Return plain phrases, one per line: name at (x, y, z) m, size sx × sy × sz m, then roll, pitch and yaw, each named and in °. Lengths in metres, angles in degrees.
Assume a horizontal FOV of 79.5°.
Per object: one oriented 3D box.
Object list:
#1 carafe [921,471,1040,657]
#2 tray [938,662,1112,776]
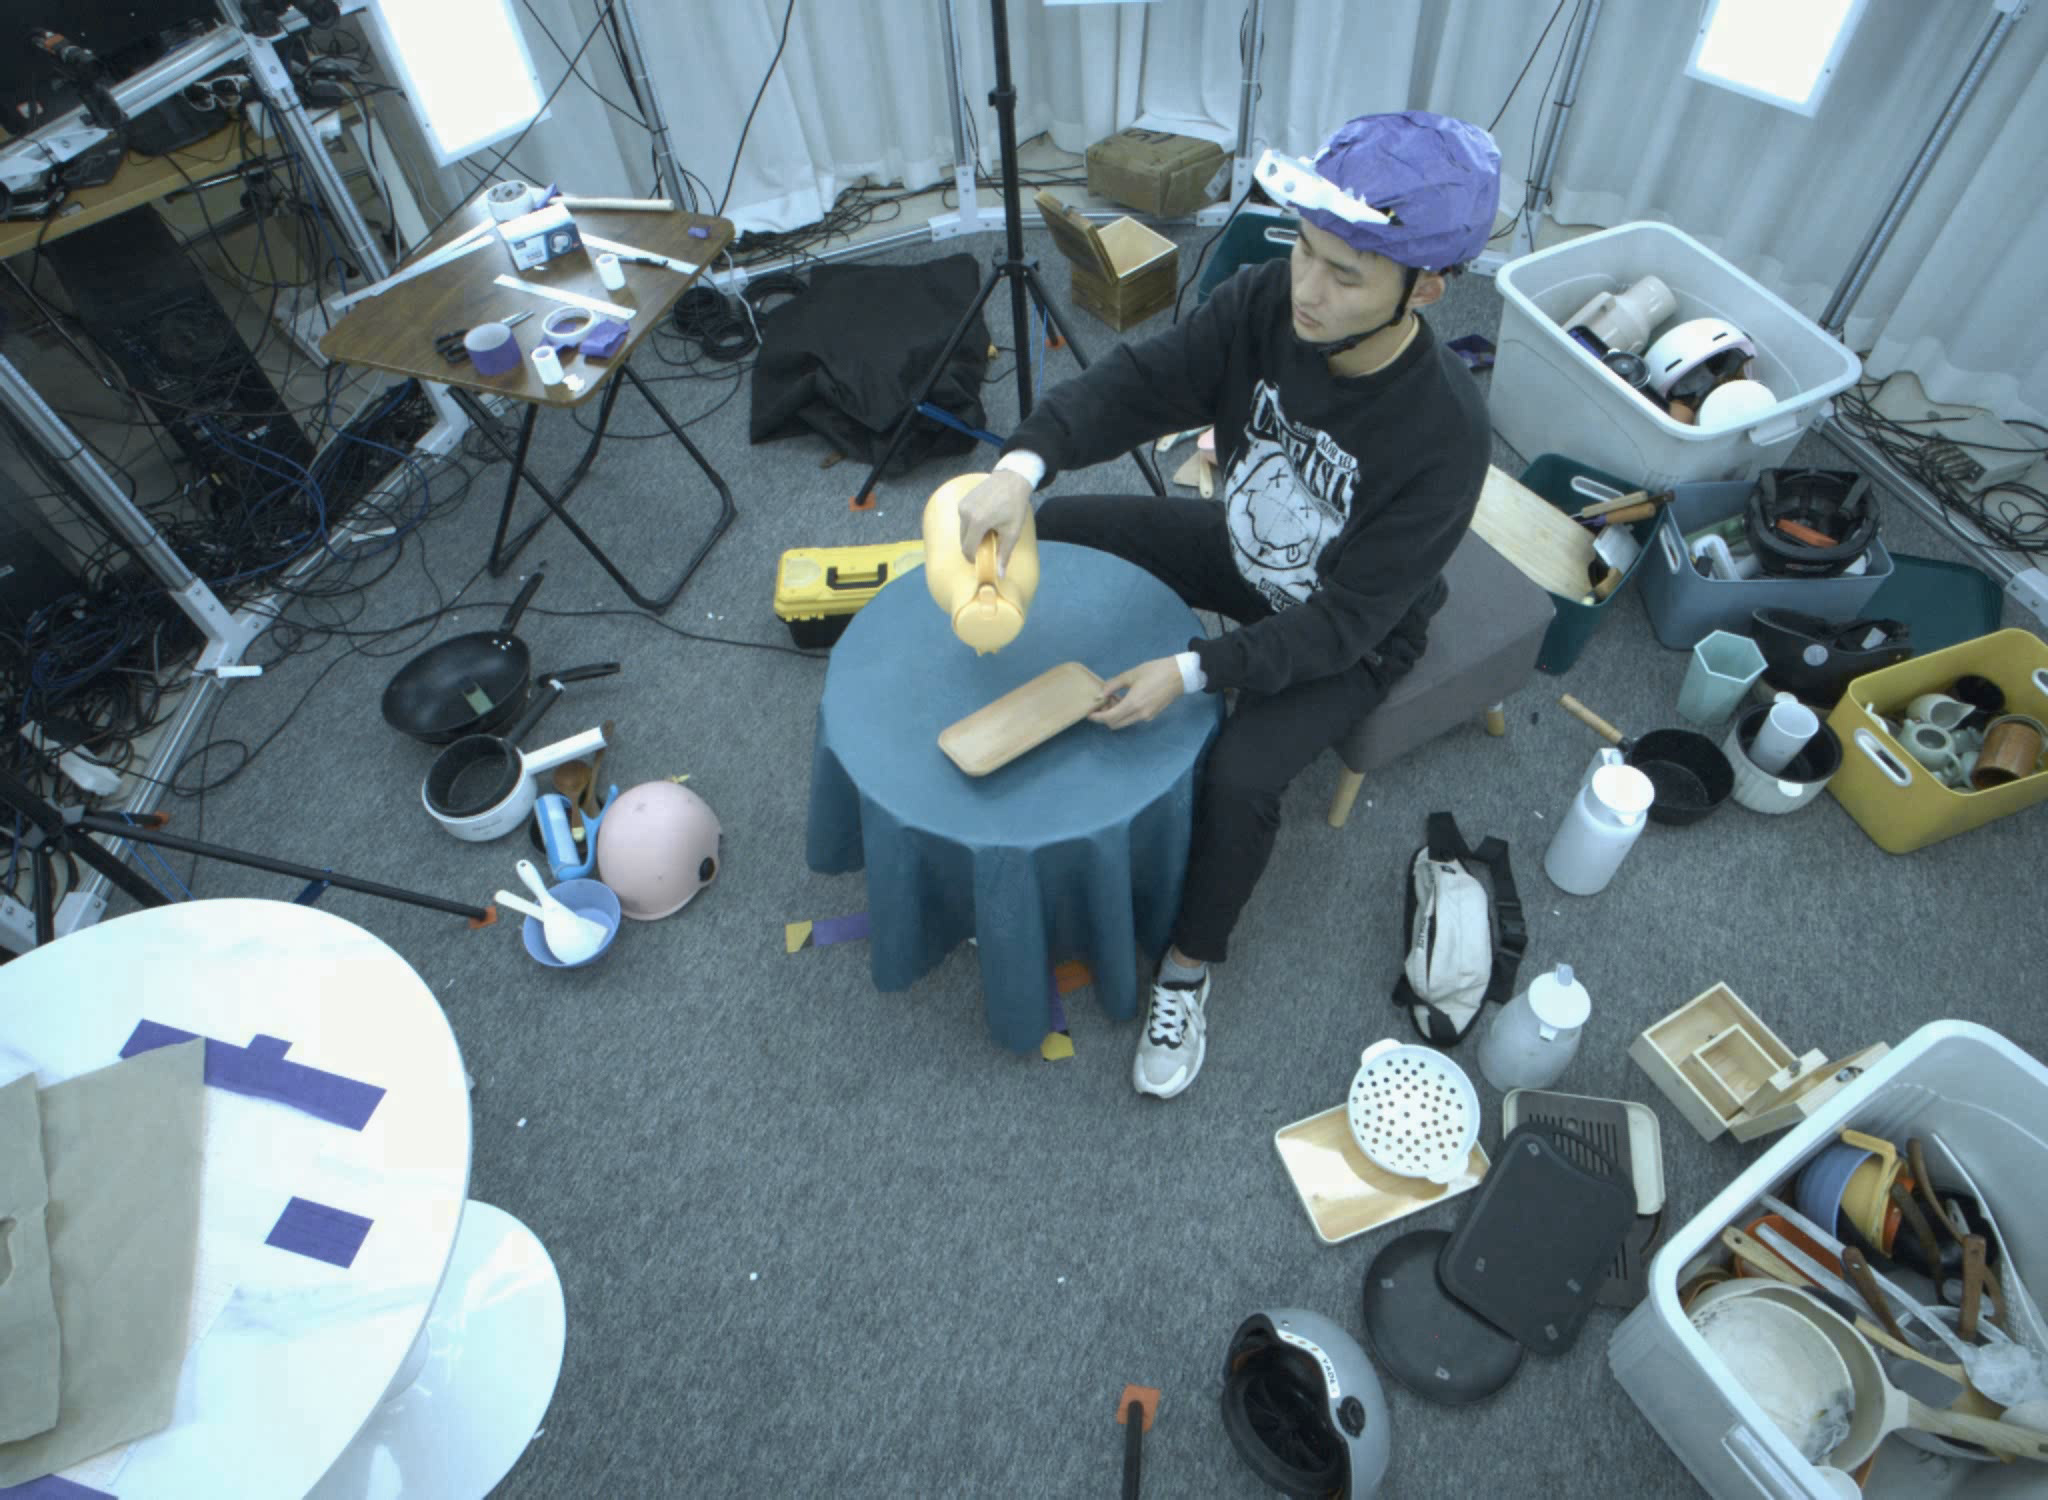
carafe at (-0.057, -0.272, 1.704) m, size 0.164 × 0.204 × 0.257 m, roll -4°, pitch 54°, yaw -8°
tray at (0.002, -0.047, 1.781) m, size 0.252 × 0.023 × 0.127 m, roll -29°, pitch 43°, yaw -16°
